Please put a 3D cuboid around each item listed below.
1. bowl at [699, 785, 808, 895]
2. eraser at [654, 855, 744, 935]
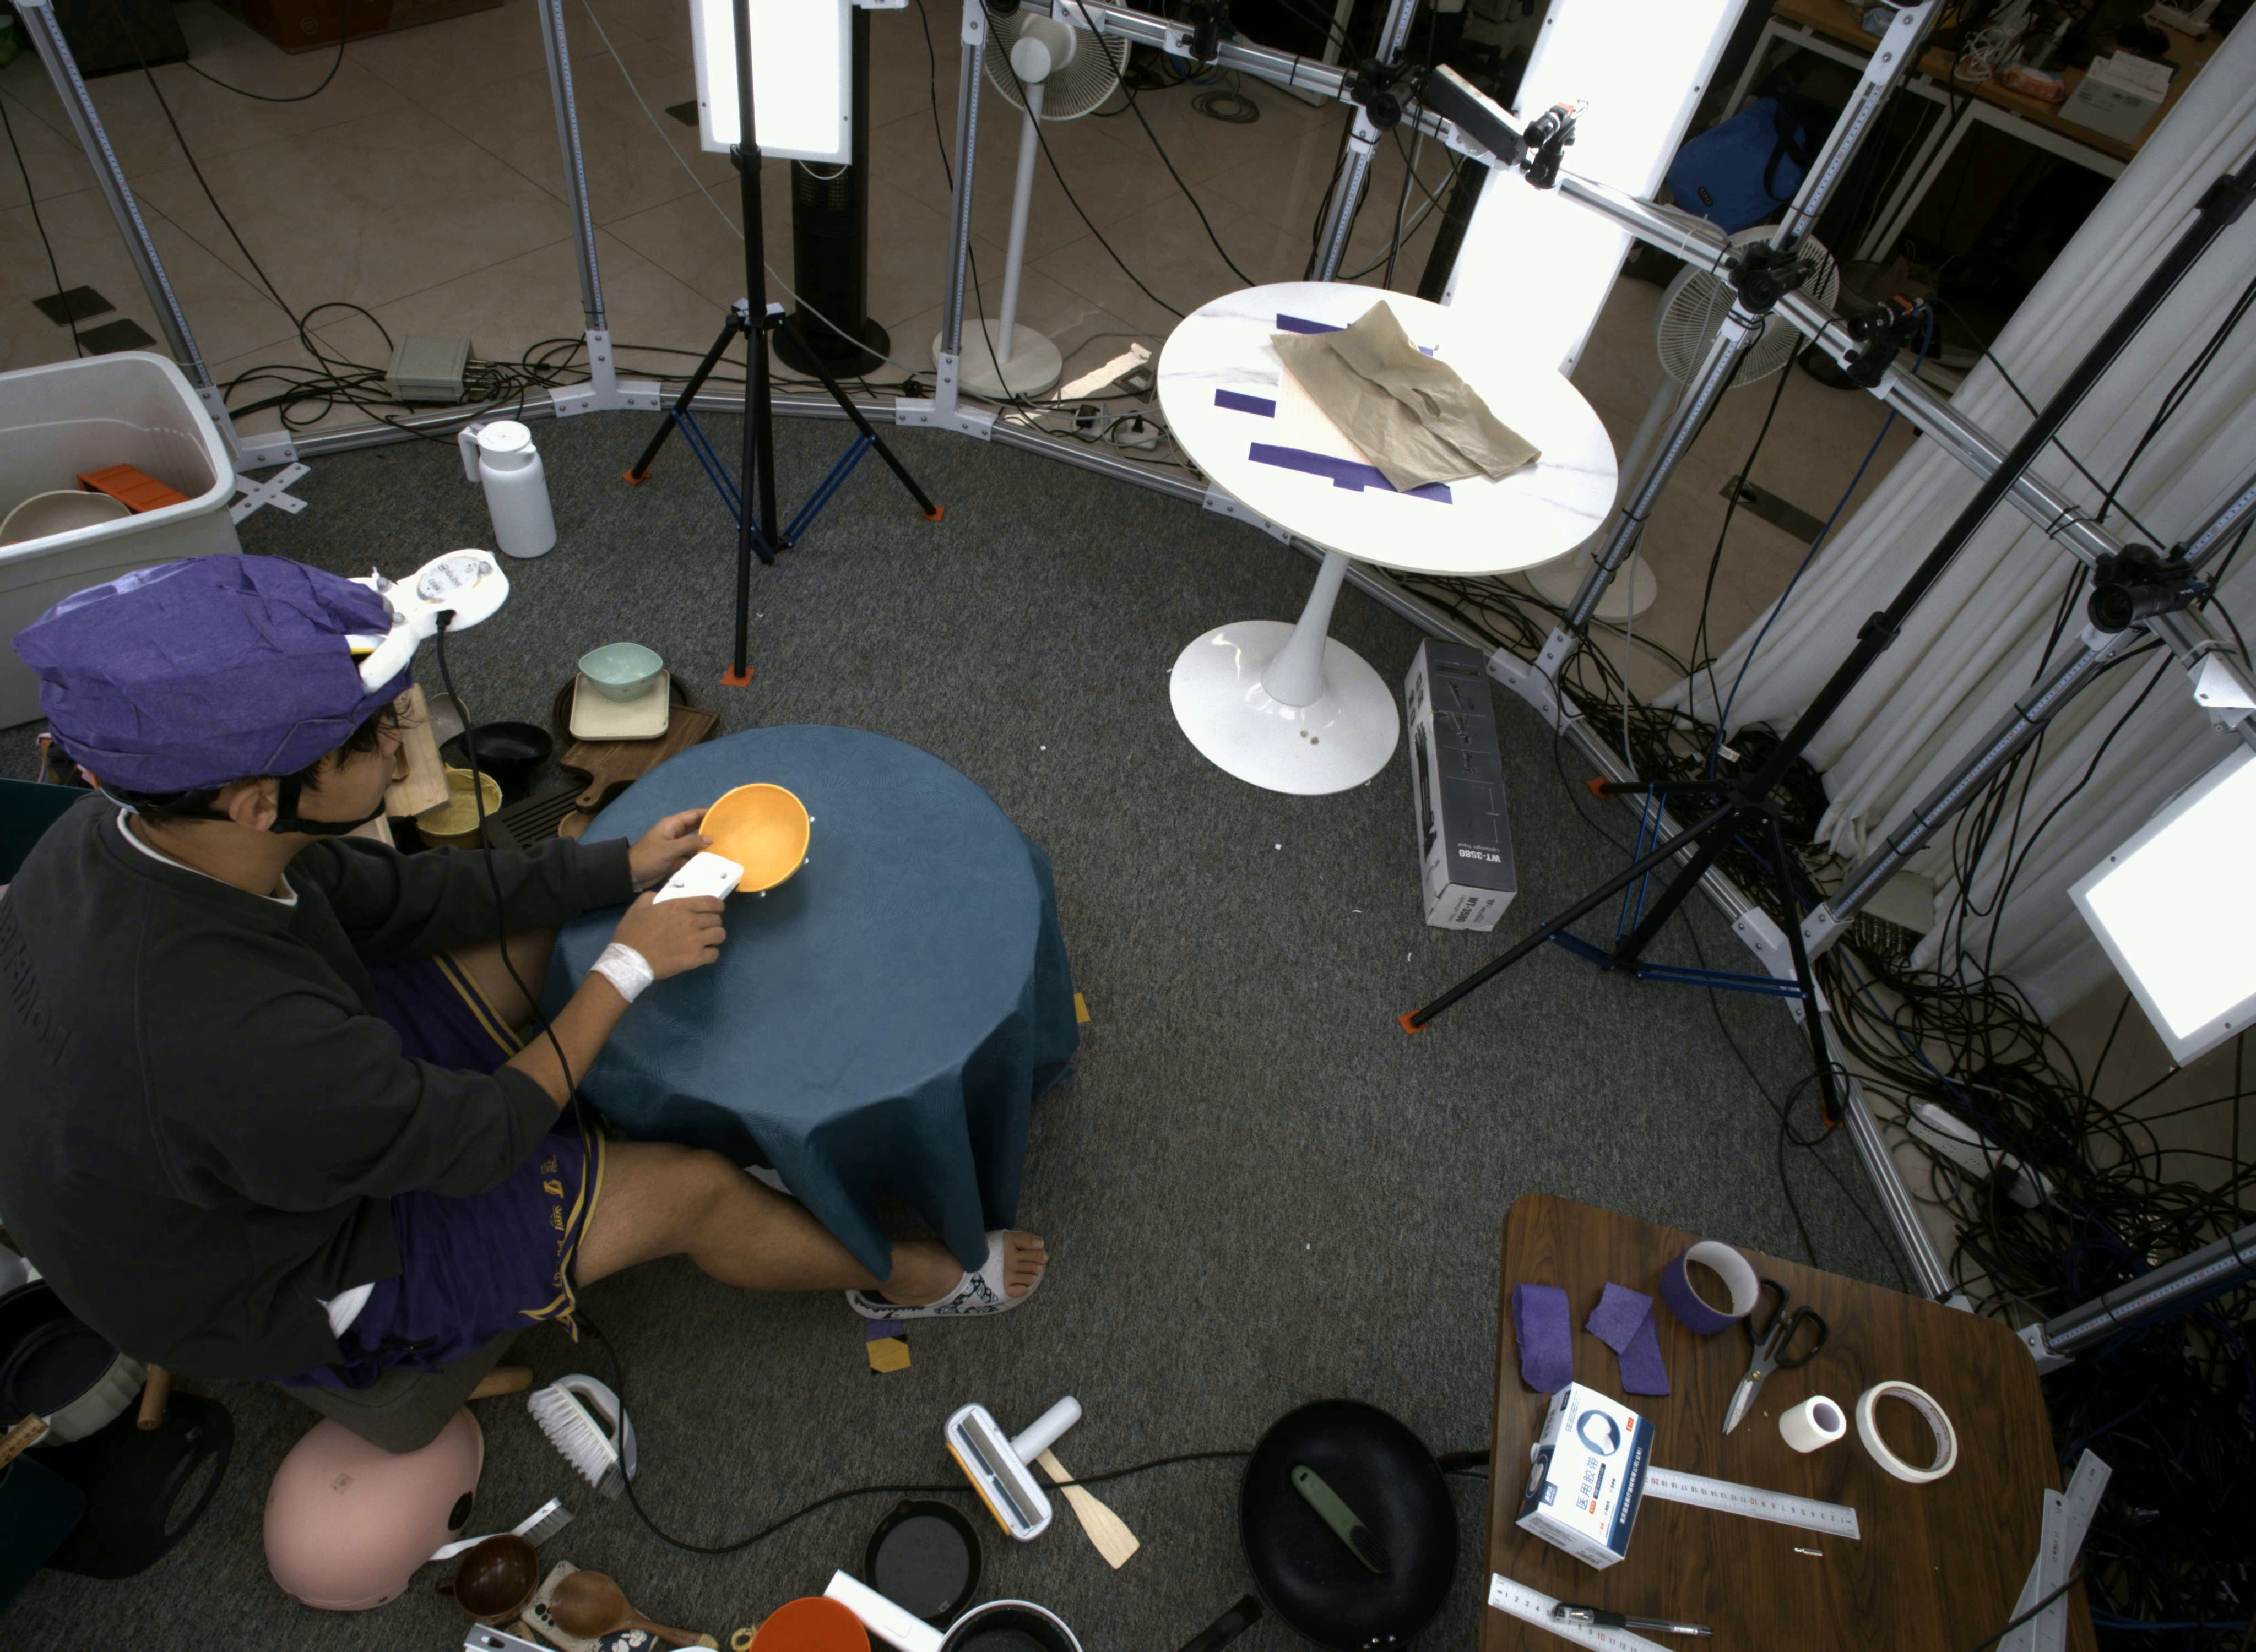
[{"bbox_3d":[-0.465,0.025,1.642,0.143,0.061,0.144,-2,71,6],"label":"bowl"},{"bbox_3d":[-0.514,0.076,1.544,0.063,0.035,0.130,22,31,3],"label":"eraser"}]
